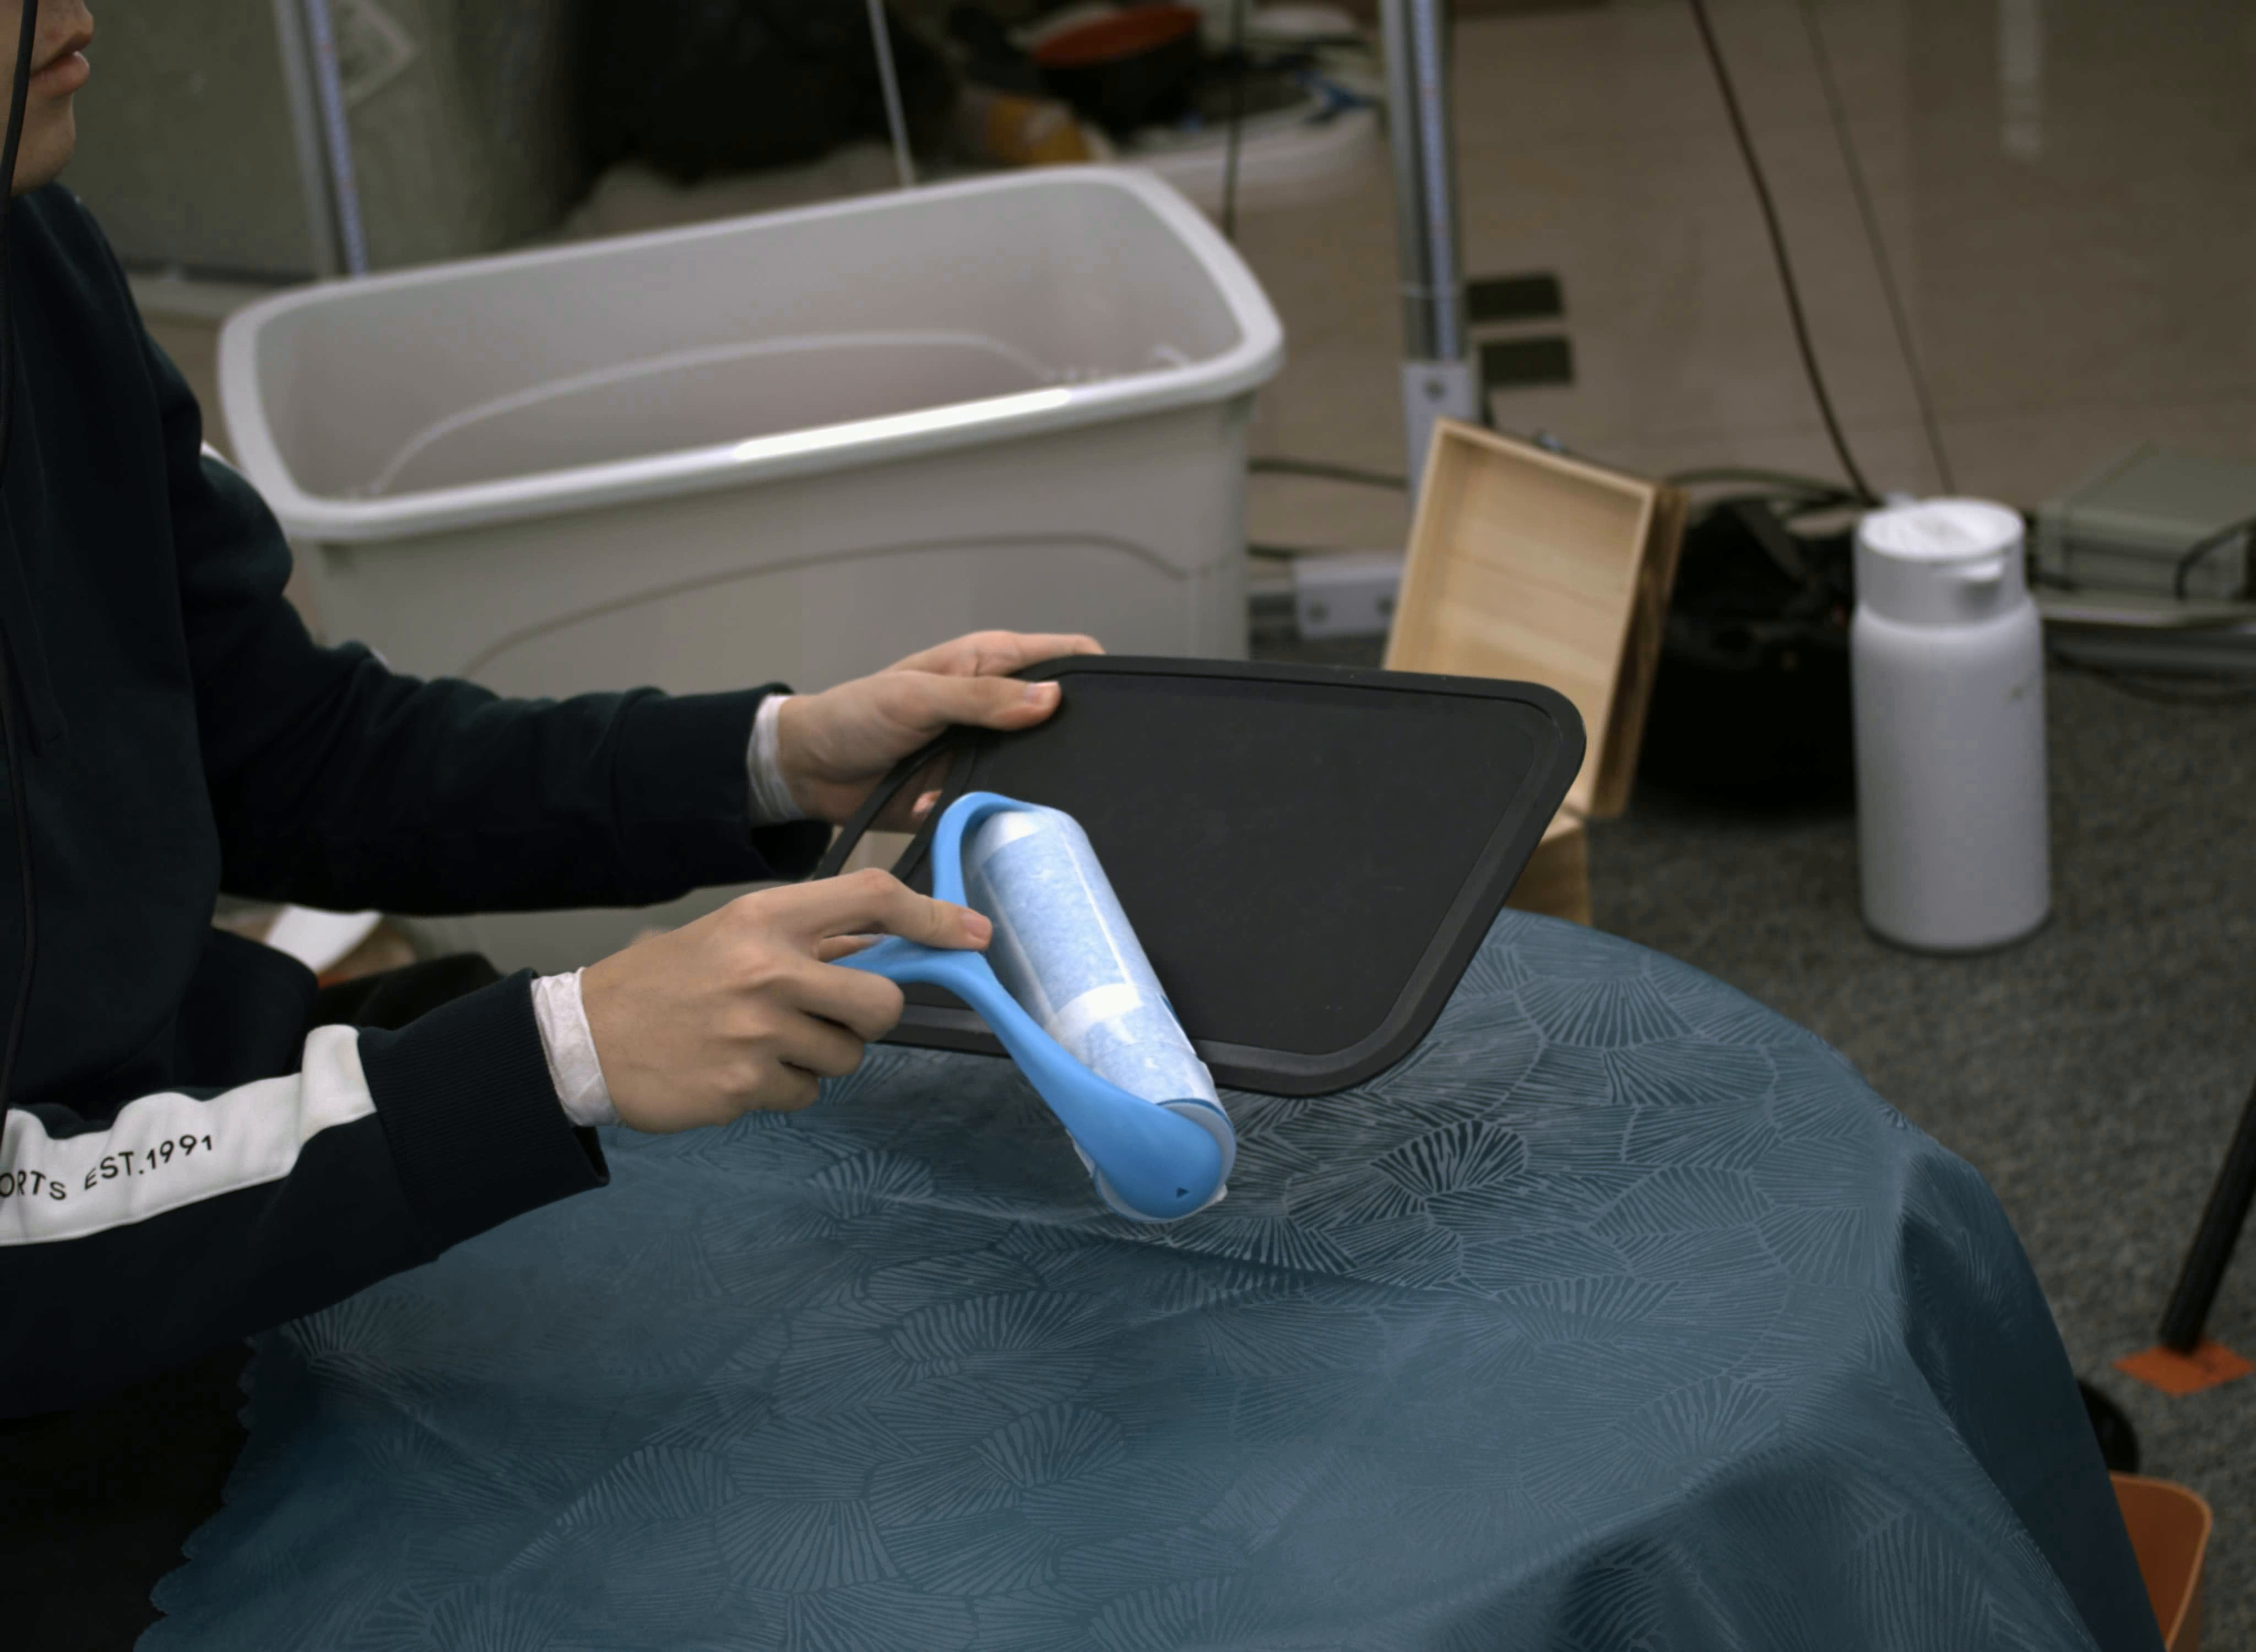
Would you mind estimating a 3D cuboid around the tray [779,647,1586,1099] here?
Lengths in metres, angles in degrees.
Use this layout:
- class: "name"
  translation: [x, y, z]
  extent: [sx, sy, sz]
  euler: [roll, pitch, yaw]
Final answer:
- class: "tray"
  translation: [0.010, 0.013, 2.176]
  extent: [0.324, 0.010, 0.208]
  euler: [6, 52, 38]

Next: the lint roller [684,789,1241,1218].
- class: "lint roller"
  translation: [-0.069, 0.068, 2.040]
  extent: [0.180, 0.069, 0.225]
  euler: [-5, 37, -20]
